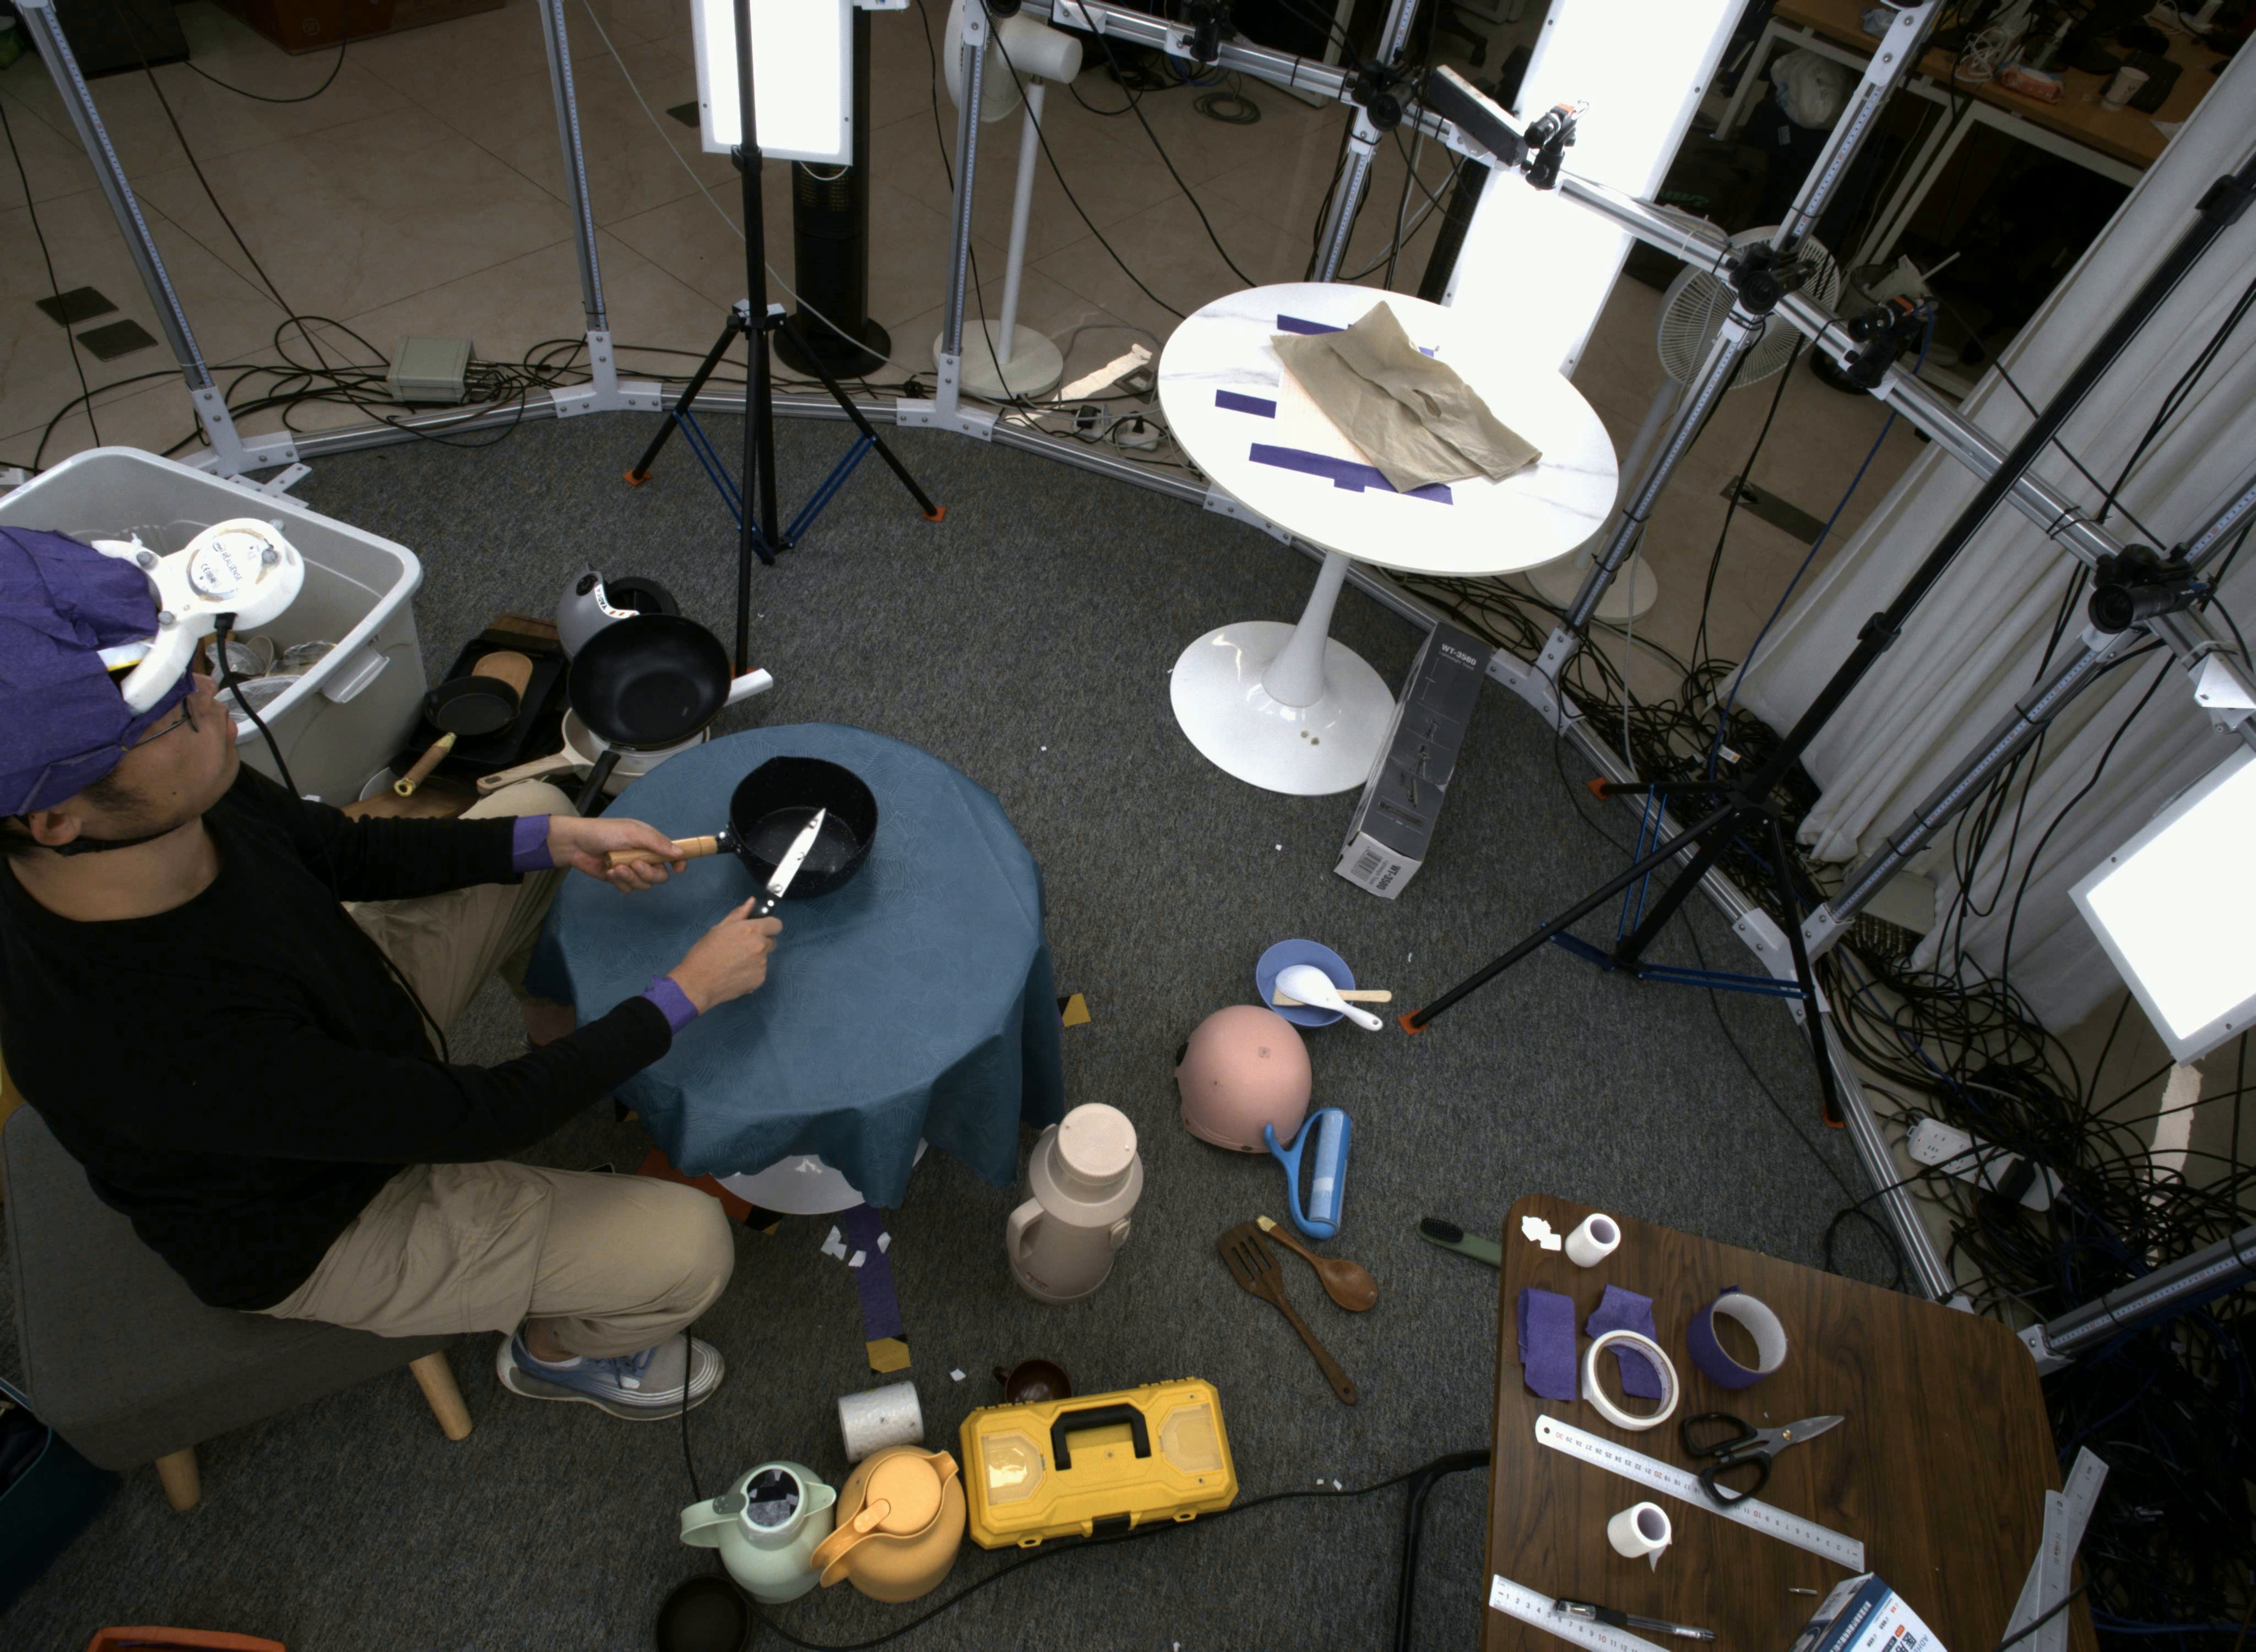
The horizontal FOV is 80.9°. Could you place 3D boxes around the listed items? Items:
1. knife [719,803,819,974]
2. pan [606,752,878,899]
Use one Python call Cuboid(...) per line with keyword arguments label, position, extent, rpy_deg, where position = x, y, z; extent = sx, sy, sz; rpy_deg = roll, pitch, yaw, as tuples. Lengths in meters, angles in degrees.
Cuboid(label="knife", position=(-0.423, 0.072, 1.547), extent=(0.025, 0.016, 0.237), rpy_deg=(33, 64, -19))
Cuboid(label="pan", position=(-0.479, 0.021, 1.611), extent=(0.345, 0.110, 0.202), rpy_deg=(-18, 60, -31))
